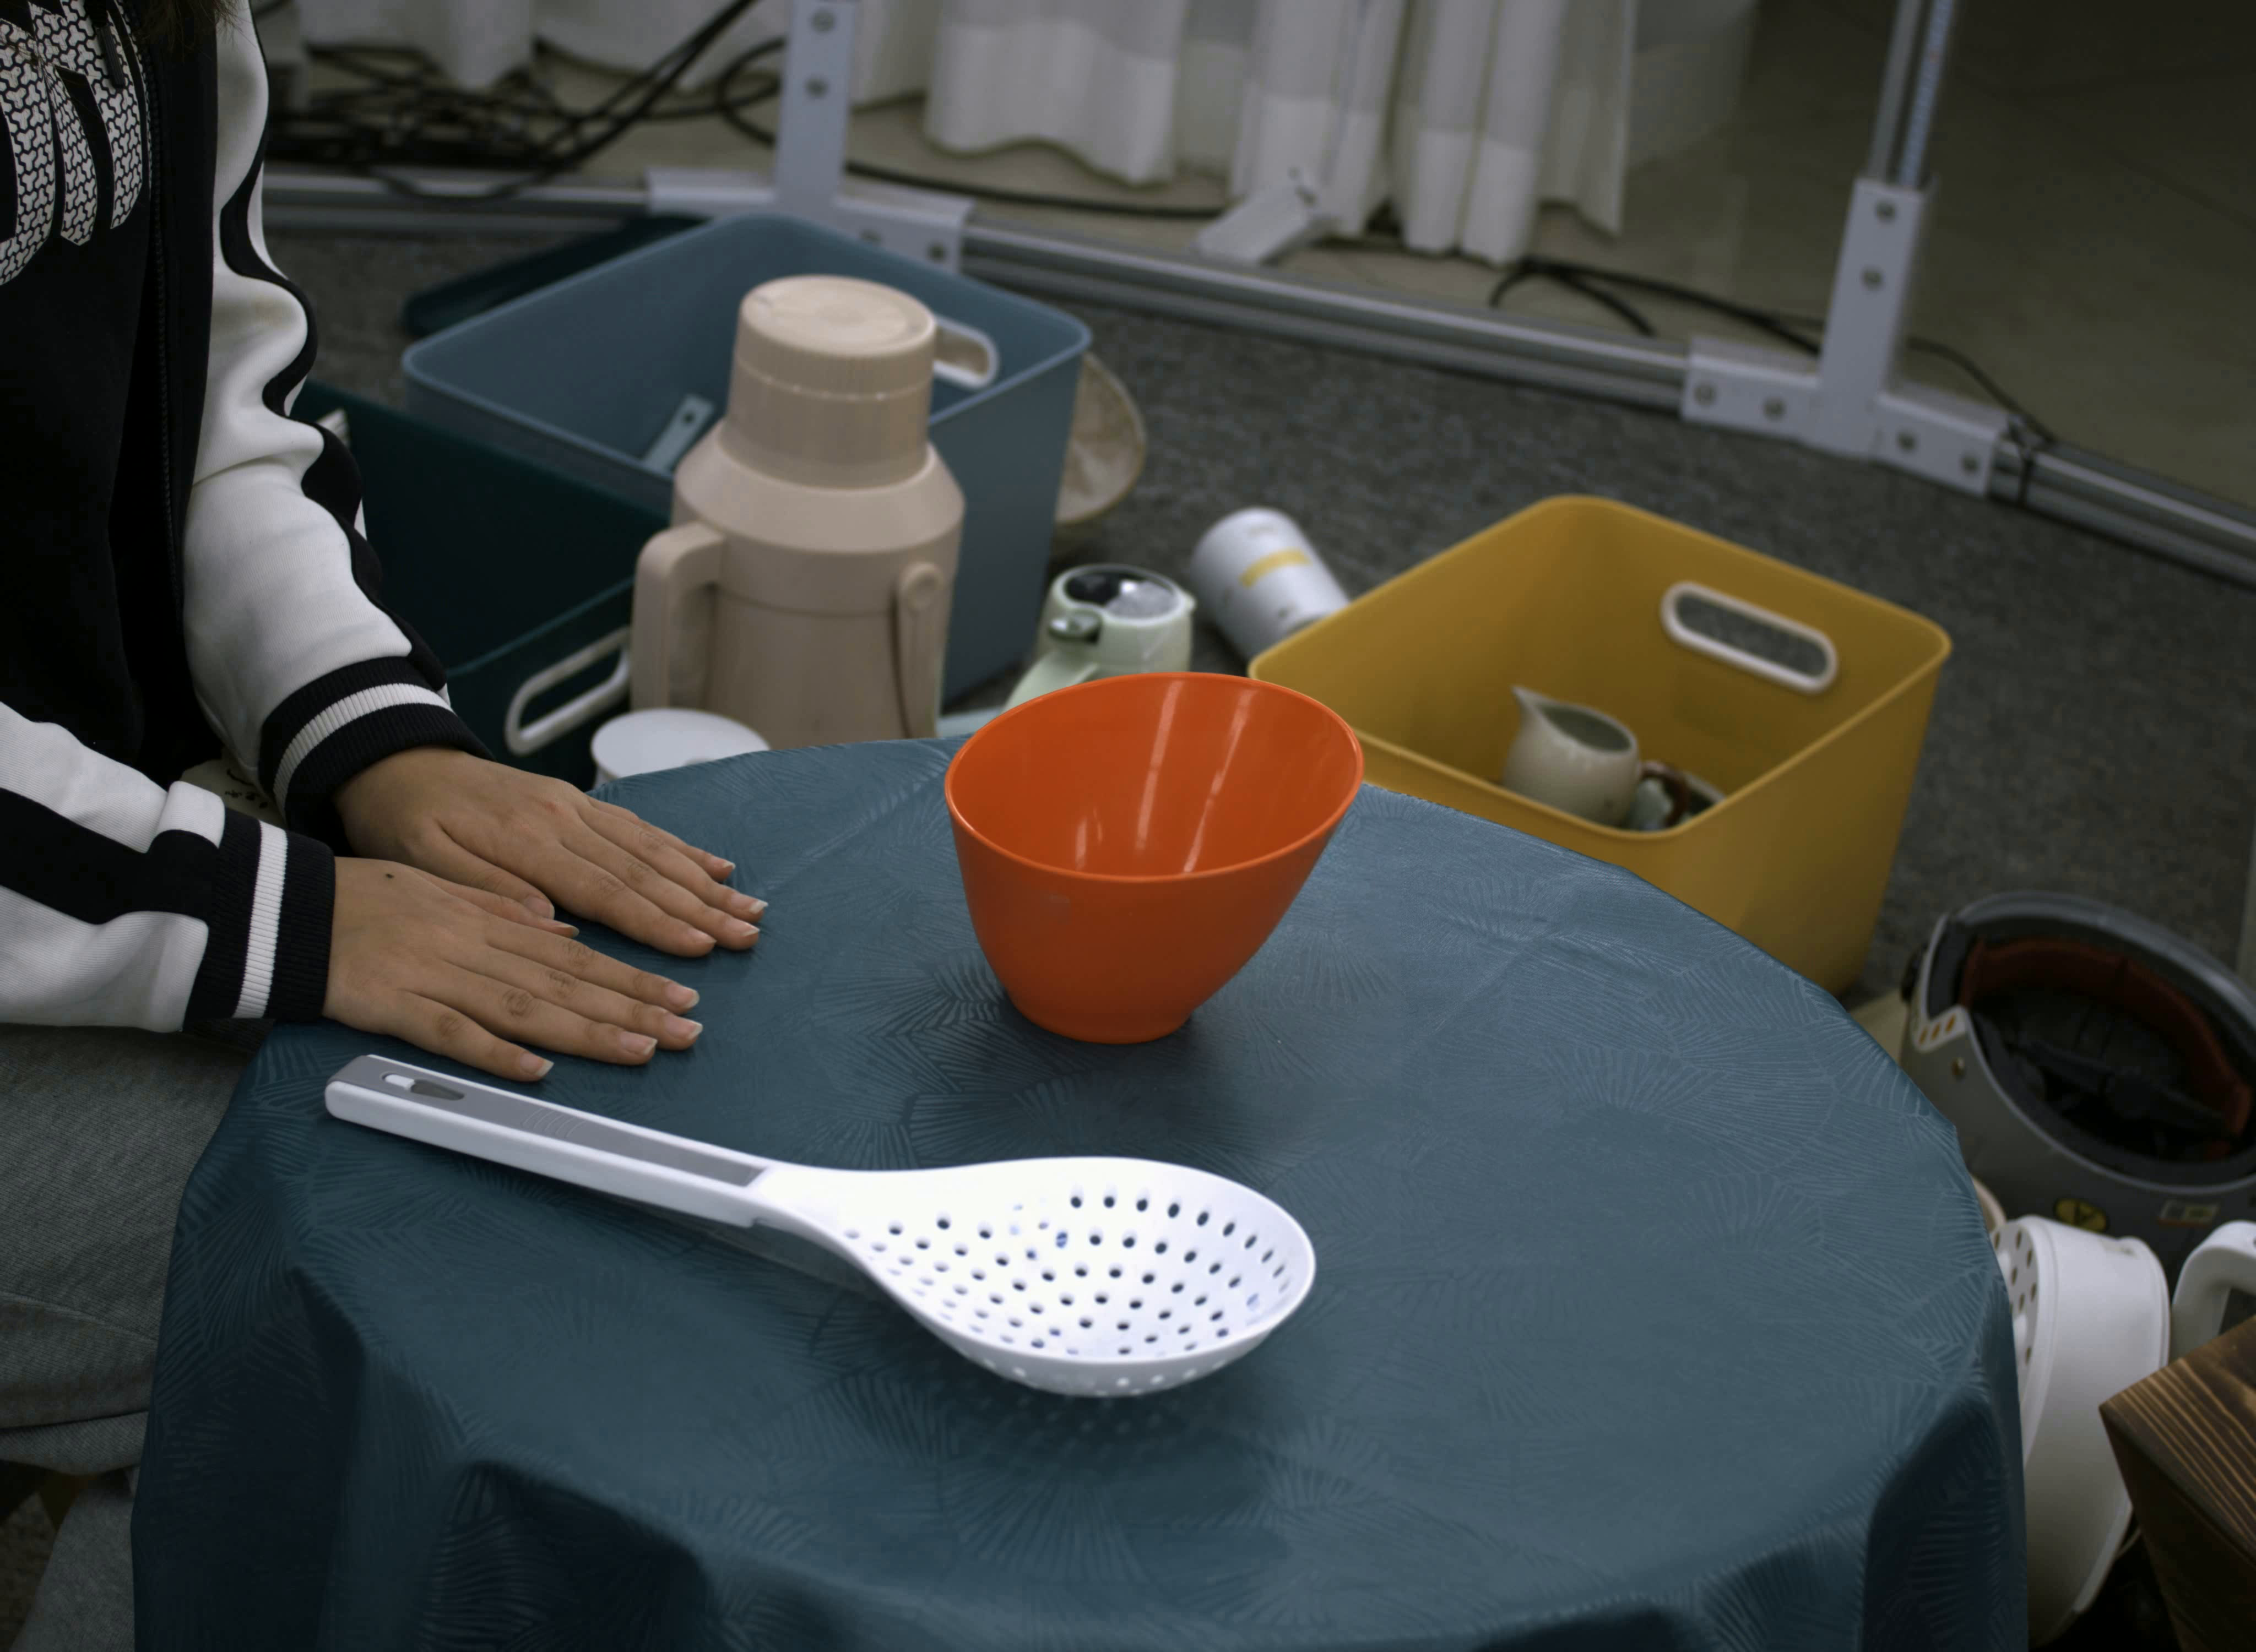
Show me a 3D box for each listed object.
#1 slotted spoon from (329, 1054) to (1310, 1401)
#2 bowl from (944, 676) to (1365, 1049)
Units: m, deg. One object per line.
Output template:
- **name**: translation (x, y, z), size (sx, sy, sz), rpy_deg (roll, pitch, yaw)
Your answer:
- **slotted spoon**: translation (-0.107, 0.122, 1.731), size (0.351, 0.045, 0.136), rpy_deg (17, 27, 21)
- **bowl**: translation (0.006, 0.018, 1.900), size (0.147, 0.104, 0.149), rpy_deg (4, 28, -3)
